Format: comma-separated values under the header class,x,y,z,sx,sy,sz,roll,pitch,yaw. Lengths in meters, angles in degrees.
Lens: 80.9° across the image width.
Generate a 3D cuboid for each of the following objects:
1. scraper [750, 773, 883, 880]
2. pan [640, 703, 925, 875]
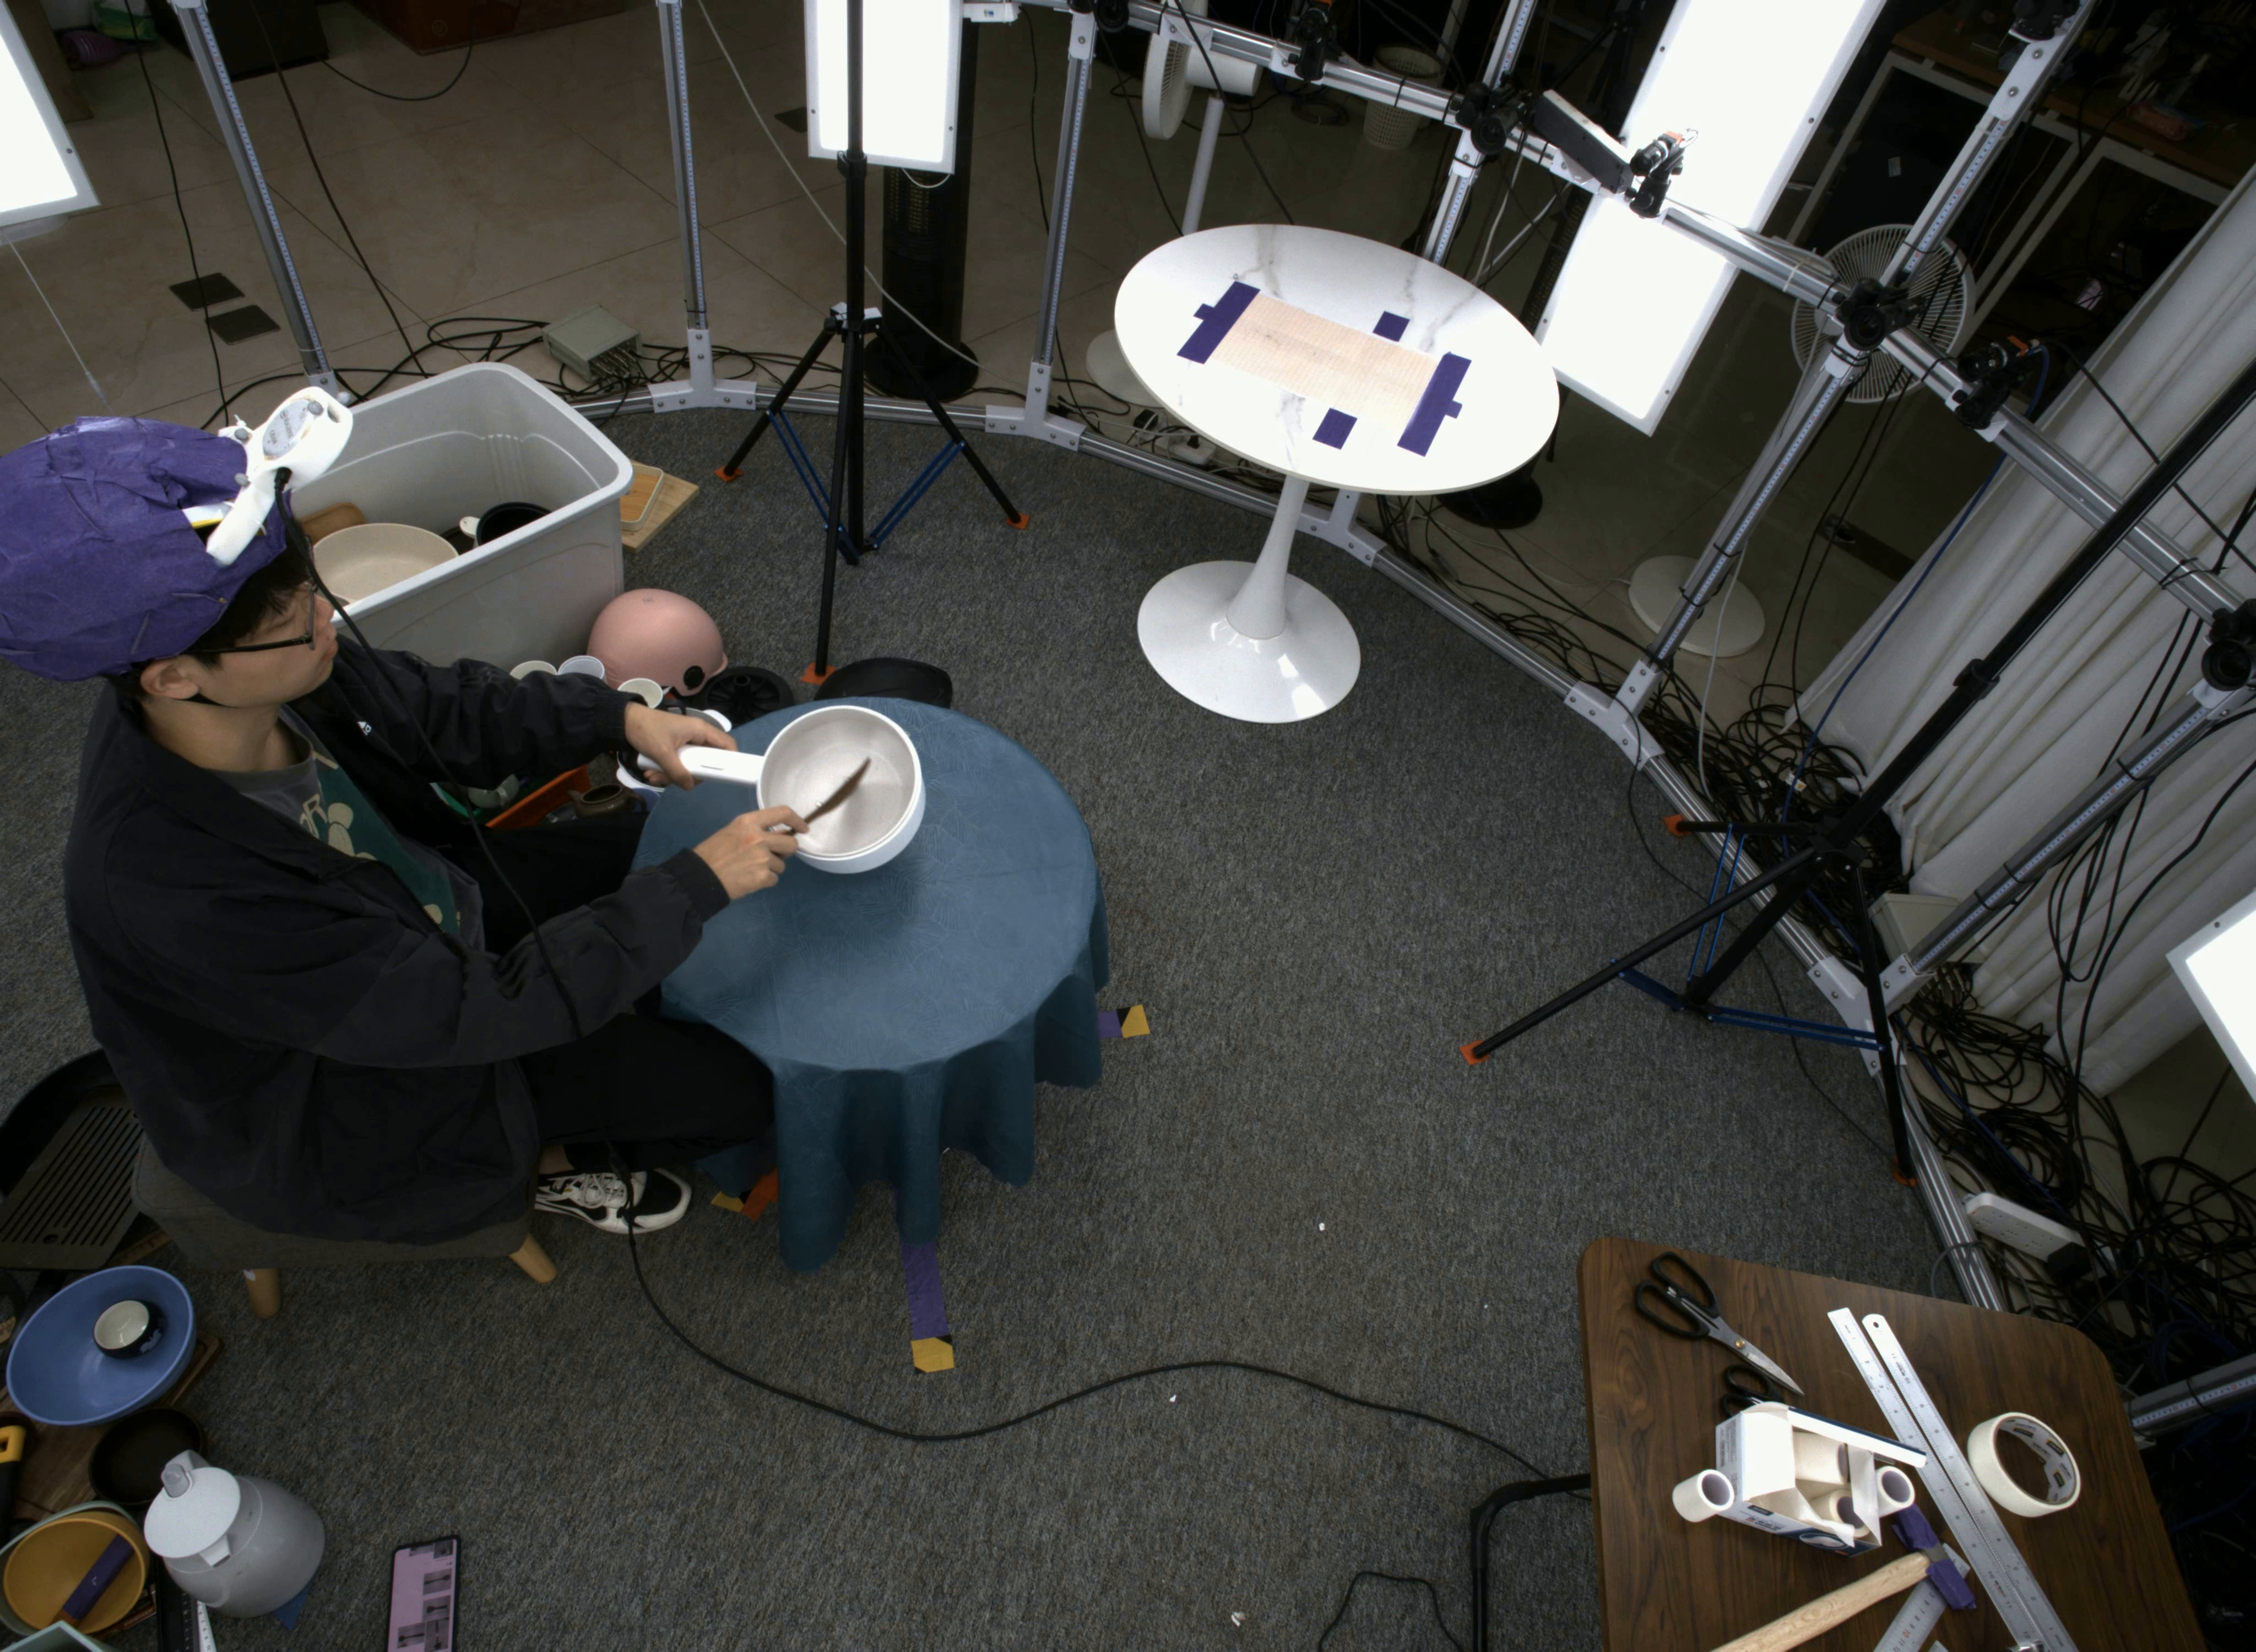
class,x,y,z,sx,sy,sz,roll,pitch,yaw
scraper,-0.370,0.002,1.542,0.011,0.075,0.211,49,49,-1
pan,-0.429,-0.053,1.625,0.350,0.103,0.201,9,74,1
